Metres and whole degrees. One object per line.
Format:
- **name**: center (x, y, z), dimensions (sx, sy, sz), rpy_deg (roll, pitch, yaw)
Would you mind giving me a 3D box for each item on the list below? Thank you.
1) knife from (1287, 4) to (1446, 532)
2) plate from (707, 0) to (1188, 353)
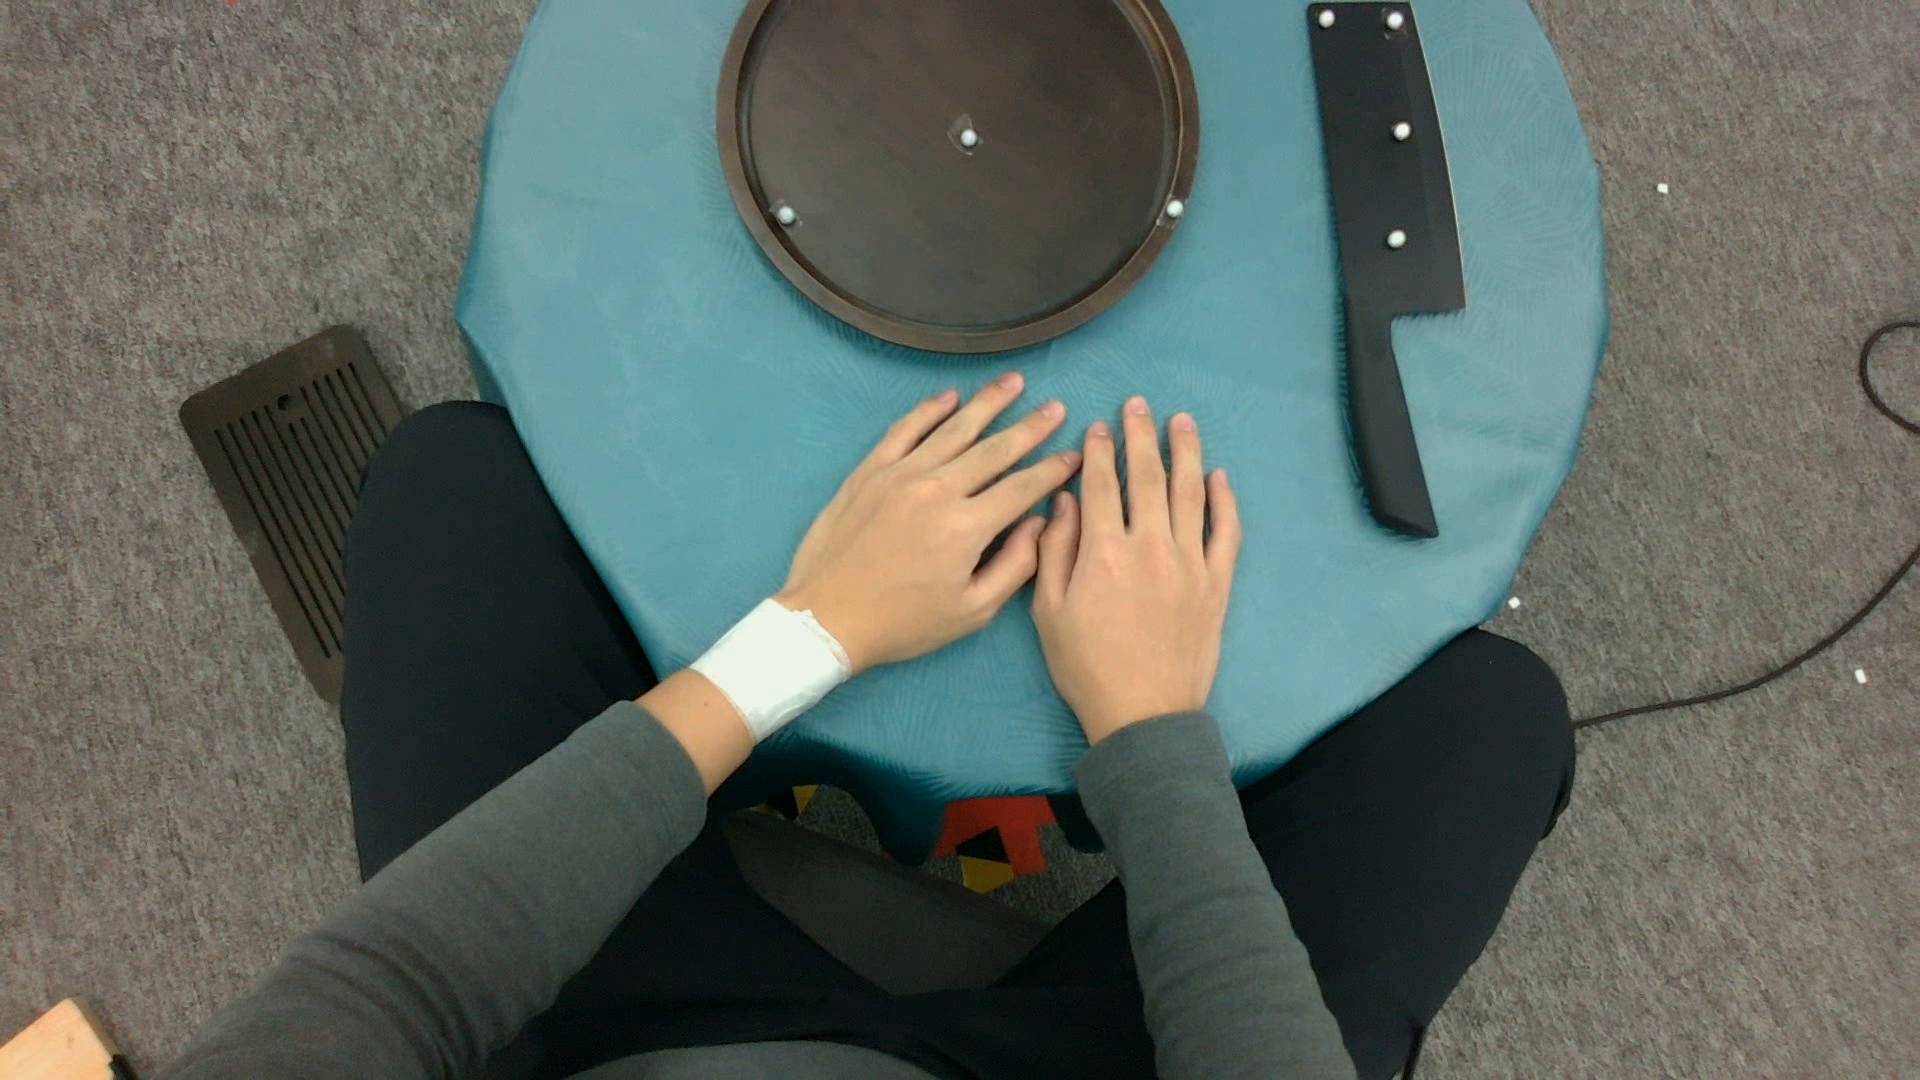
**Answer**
- **knife**: center (0.223, -0.153, 0.740), dimensions (0.081, 0.021, 0.303), rpy_deg (0, 78, -5)
- **plate**: center (-0.006, -0.219, 0.730), dimensions (0.255, 0.029, 0.255), rpy_deg (1, 80, -5)
